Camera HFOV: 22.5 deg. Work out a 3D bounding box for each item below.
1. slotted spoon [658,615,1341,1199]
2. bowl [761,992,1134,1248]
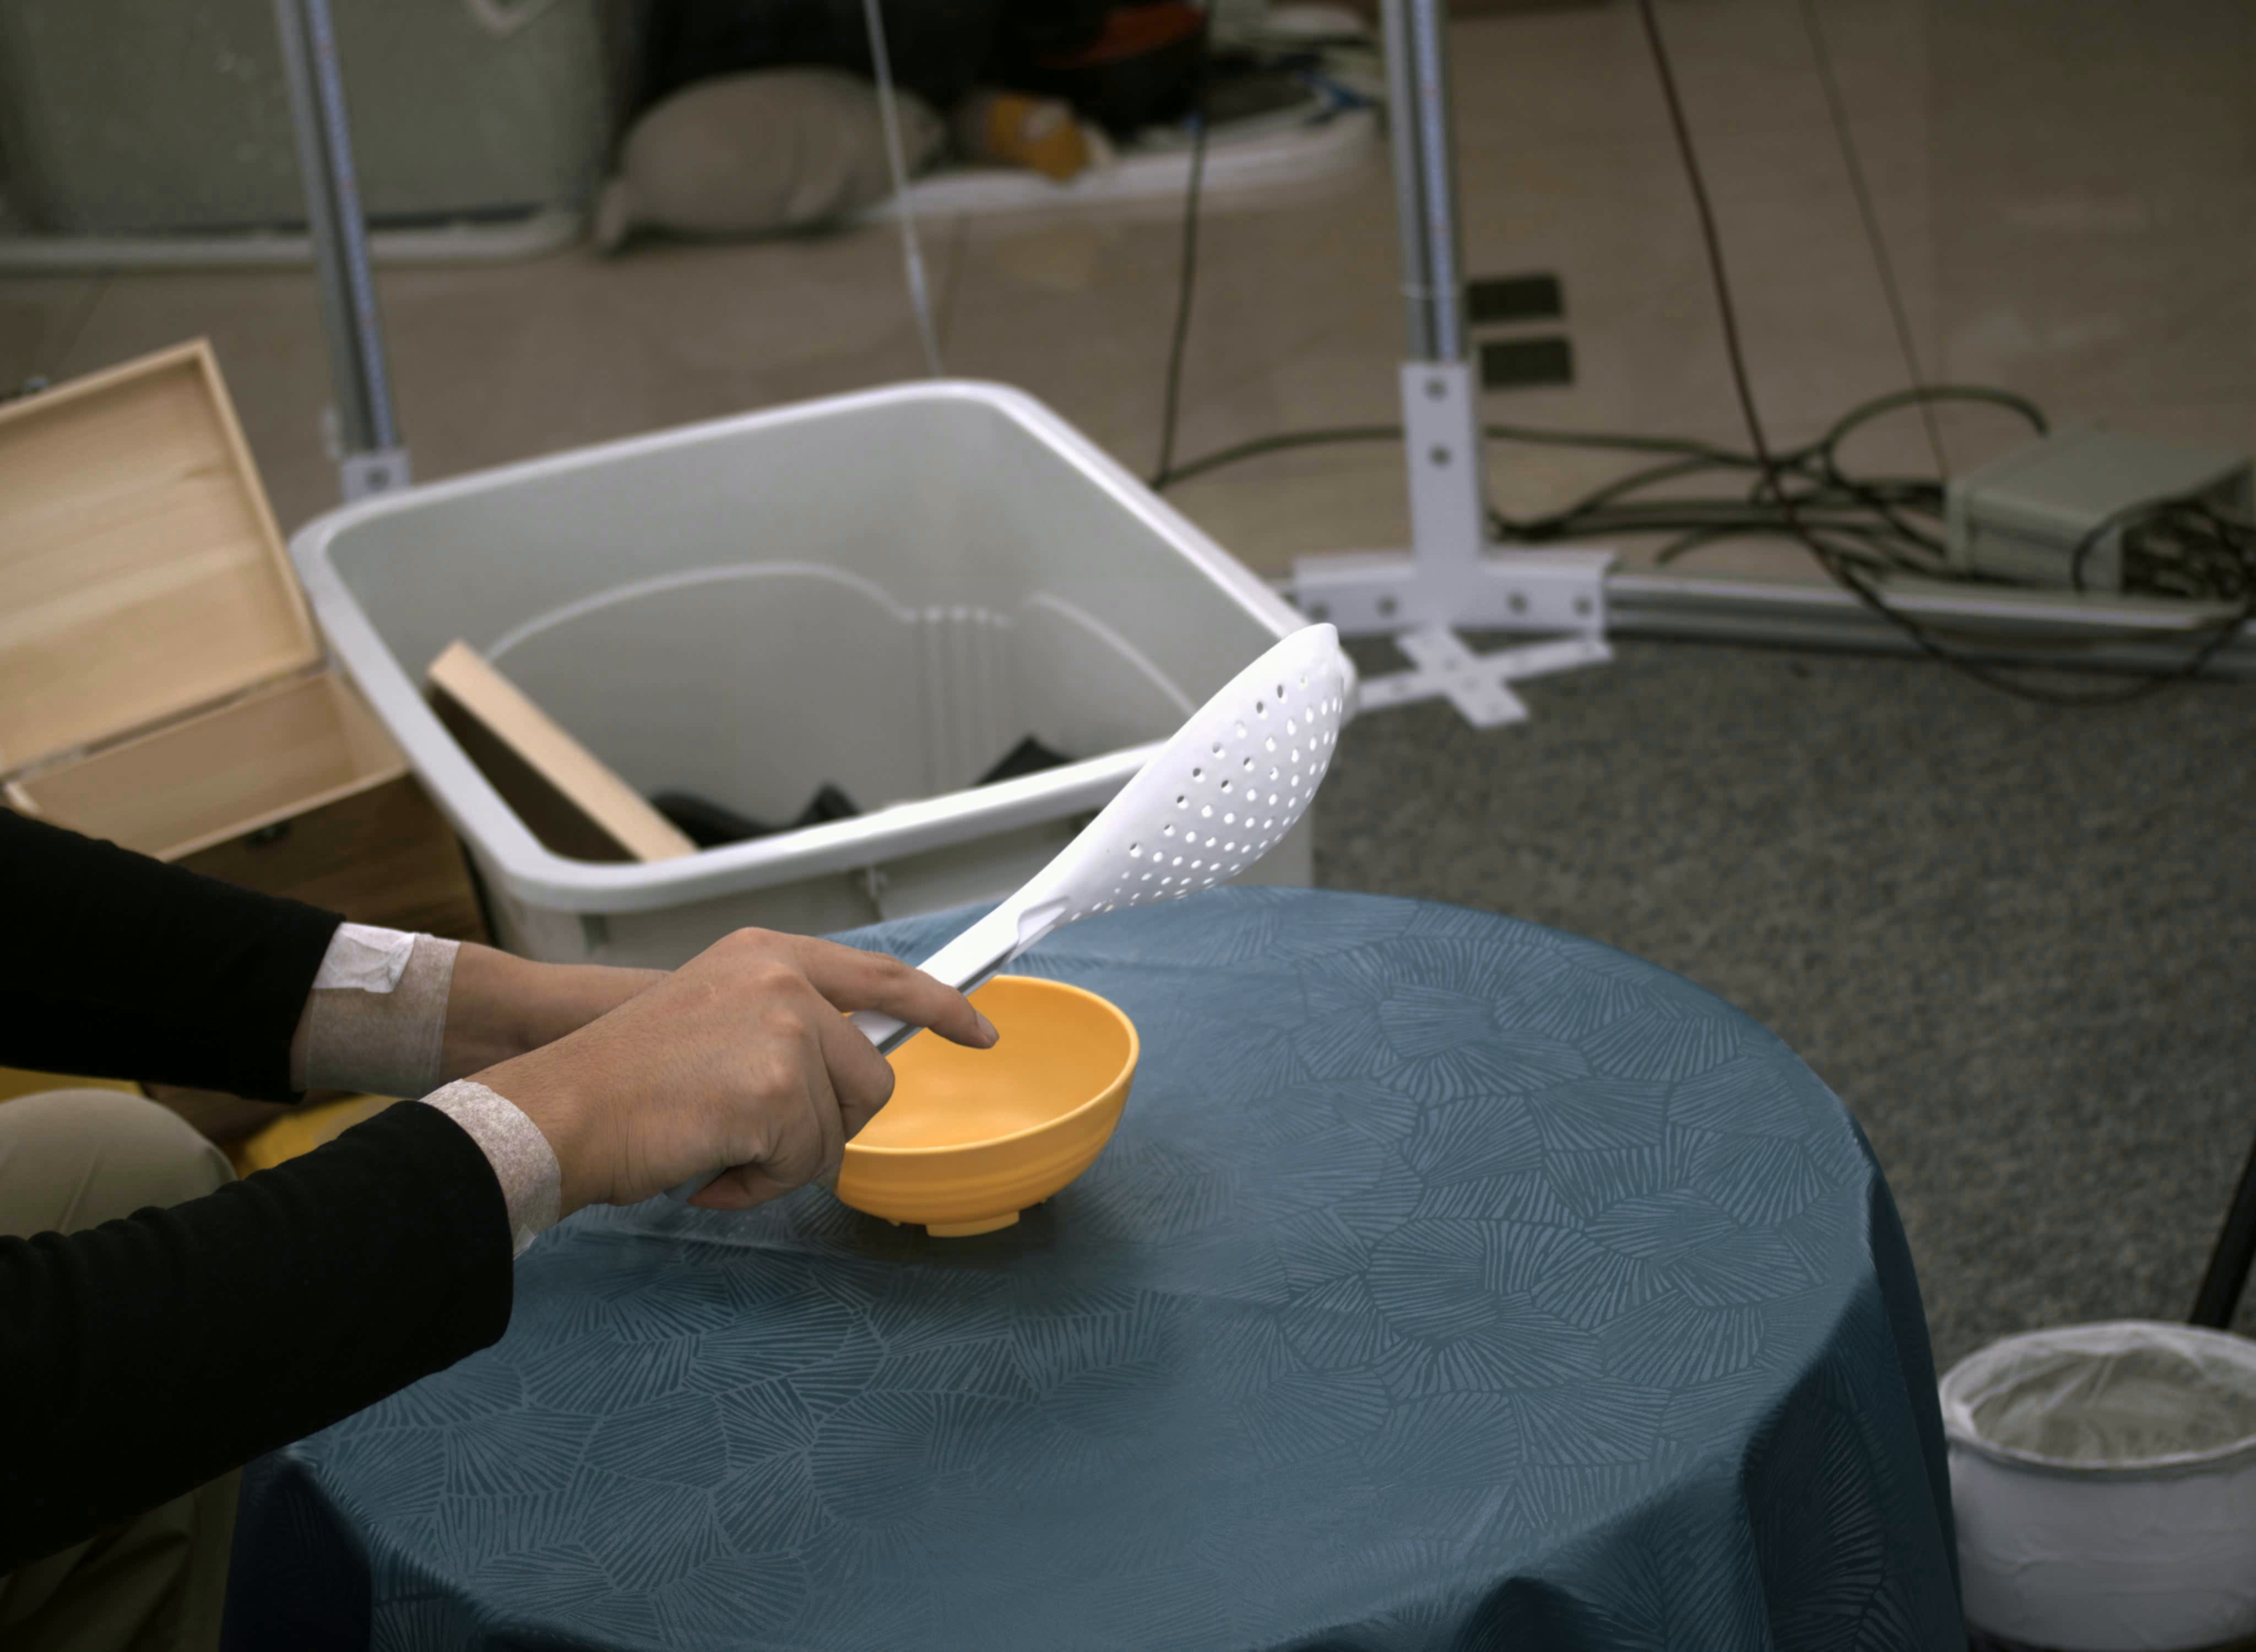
[{"bbox_3d":[-0.038,0.031,1.975,0.346,0.138,0.045,-31,73,-35],"label":"slotted spoon"},{"bbox_3d":[-0.065,0.119,2.147,0.145,0.061,0.143,-8,23,4],"label":"bowl"}]
